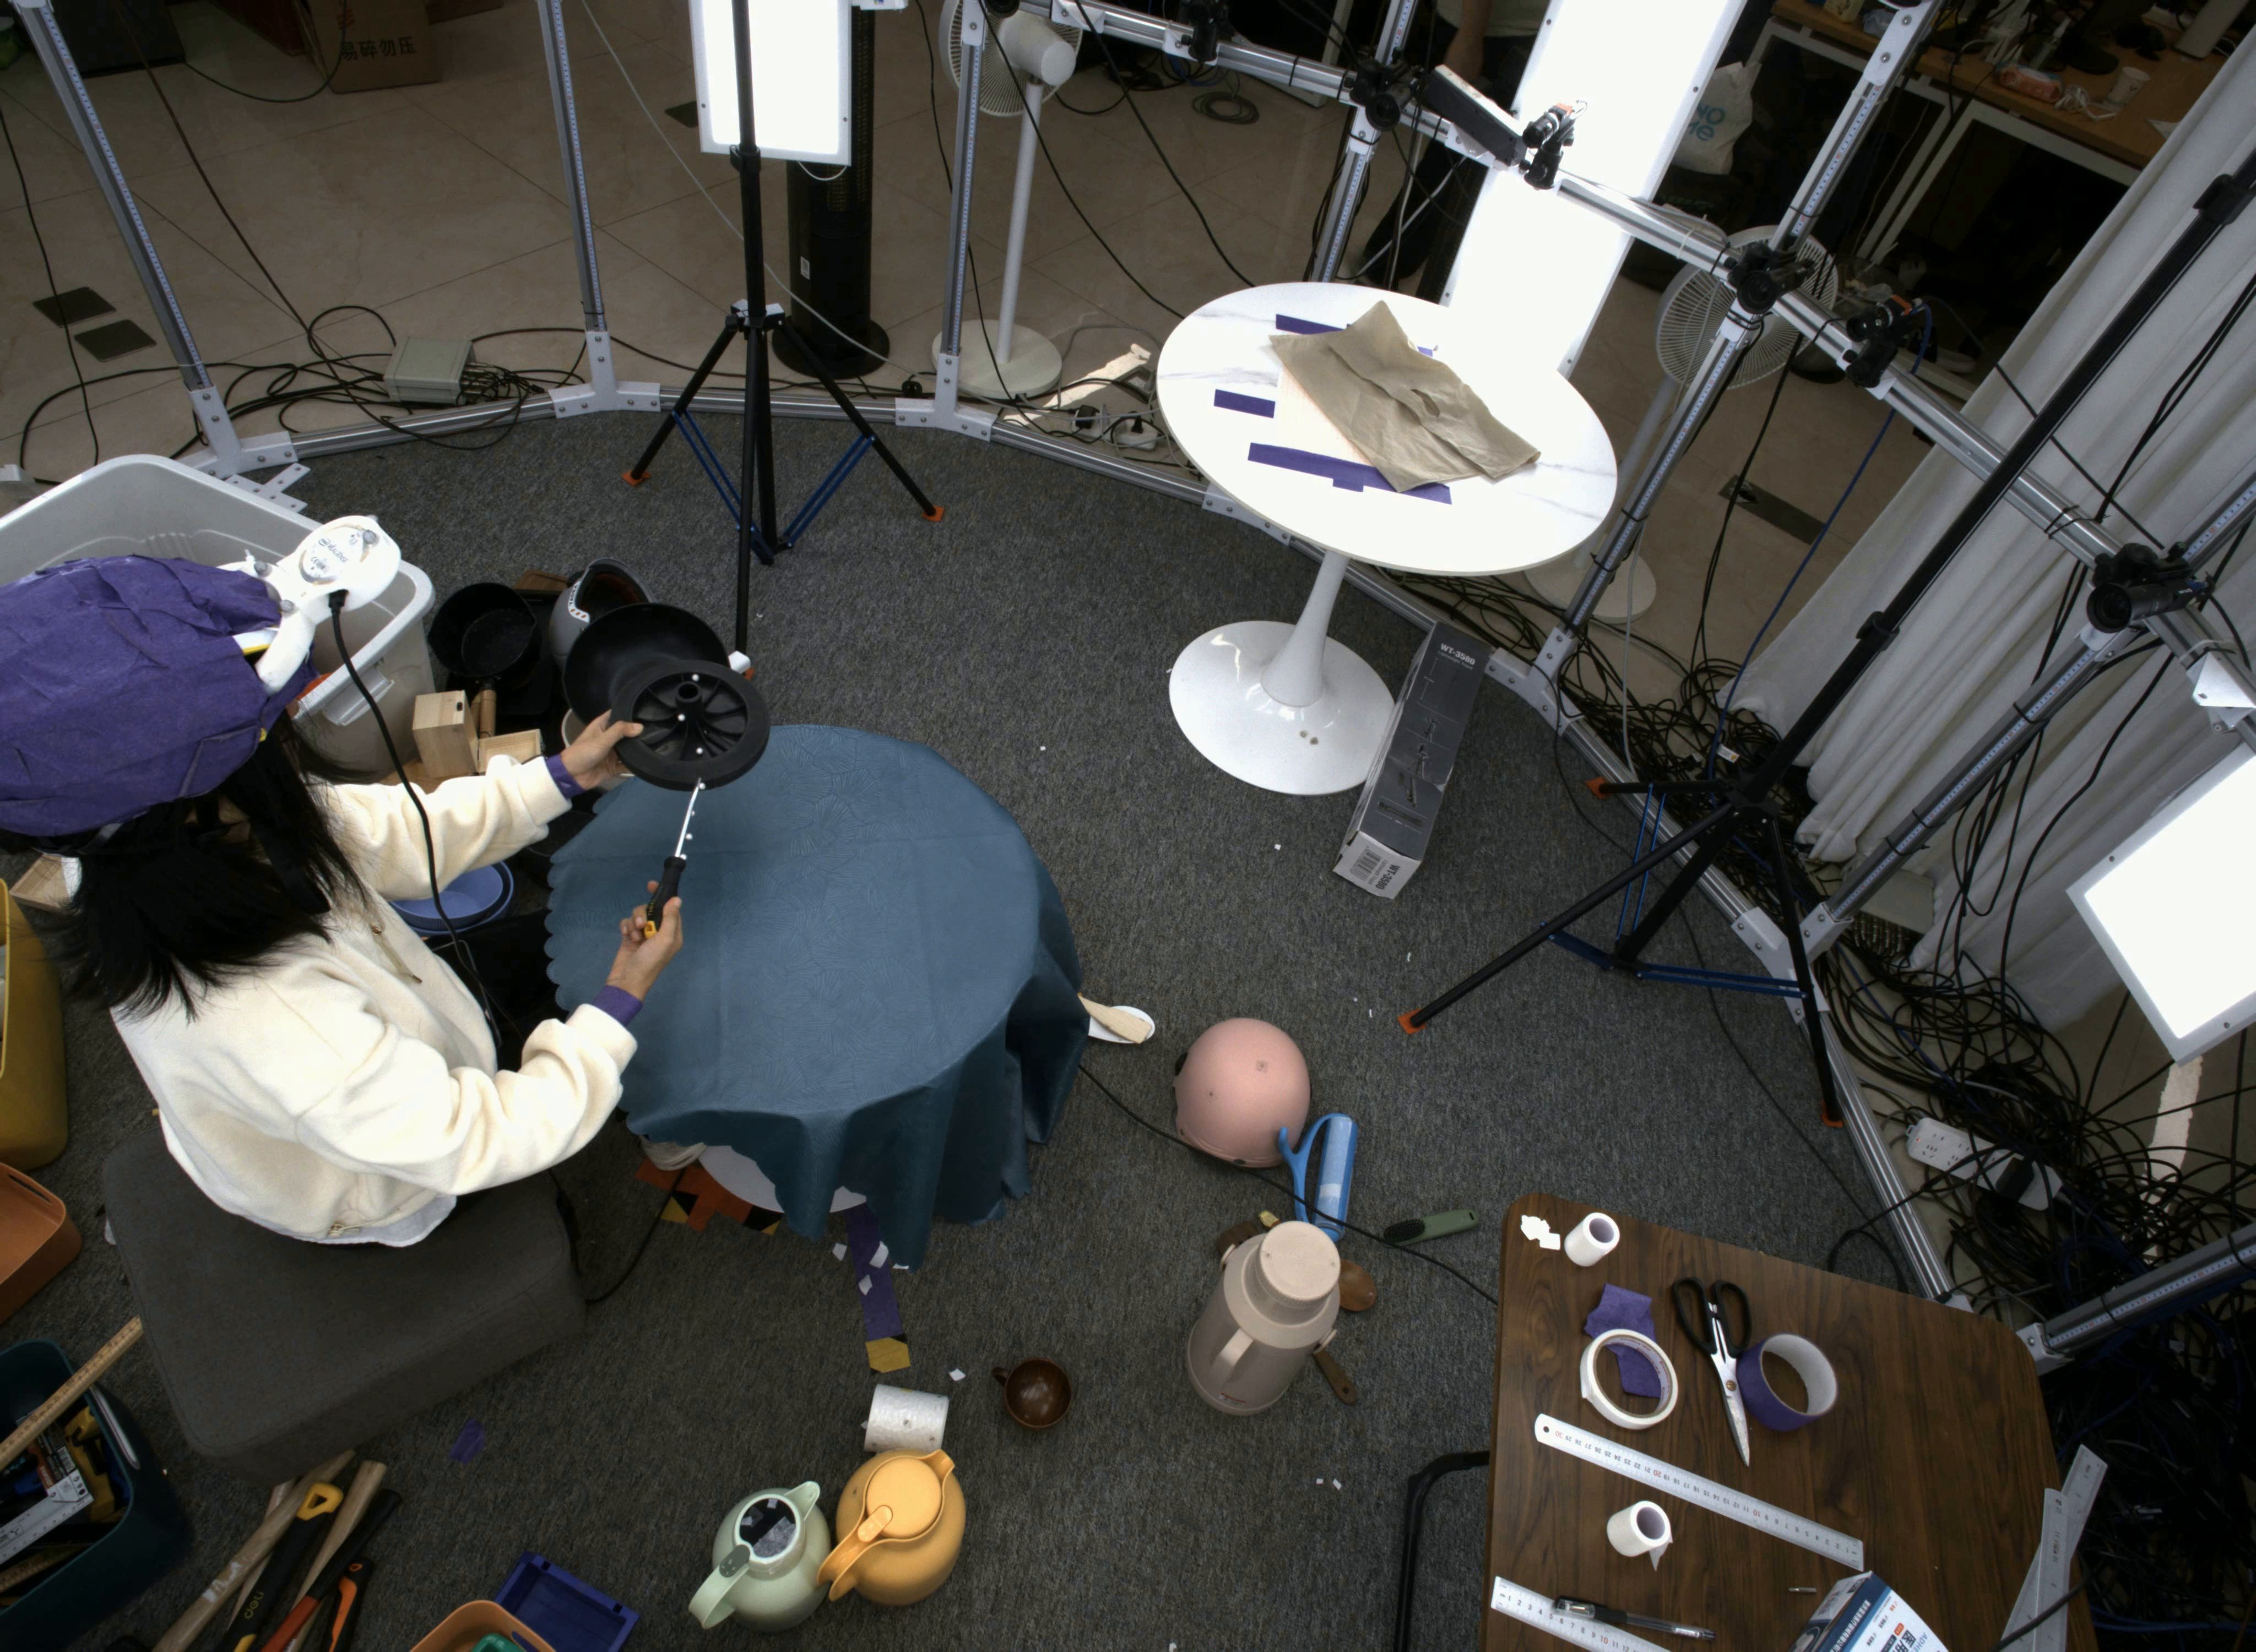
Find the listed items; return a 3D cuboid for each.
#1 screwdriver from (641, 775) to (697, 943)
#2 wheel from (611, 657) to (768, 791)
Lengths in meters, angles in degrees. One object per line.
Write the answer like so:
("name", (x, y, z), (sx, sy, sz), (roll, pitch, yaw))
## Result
("screwdriver", (-0.512, 0.033, 1.440), (0.031, 0.032, 0.196), (9, 68, -6))
("wheel", (-0.525, -0.138, 1.531), (0.190, 0.080, 0.185), (14, 55, -9))
